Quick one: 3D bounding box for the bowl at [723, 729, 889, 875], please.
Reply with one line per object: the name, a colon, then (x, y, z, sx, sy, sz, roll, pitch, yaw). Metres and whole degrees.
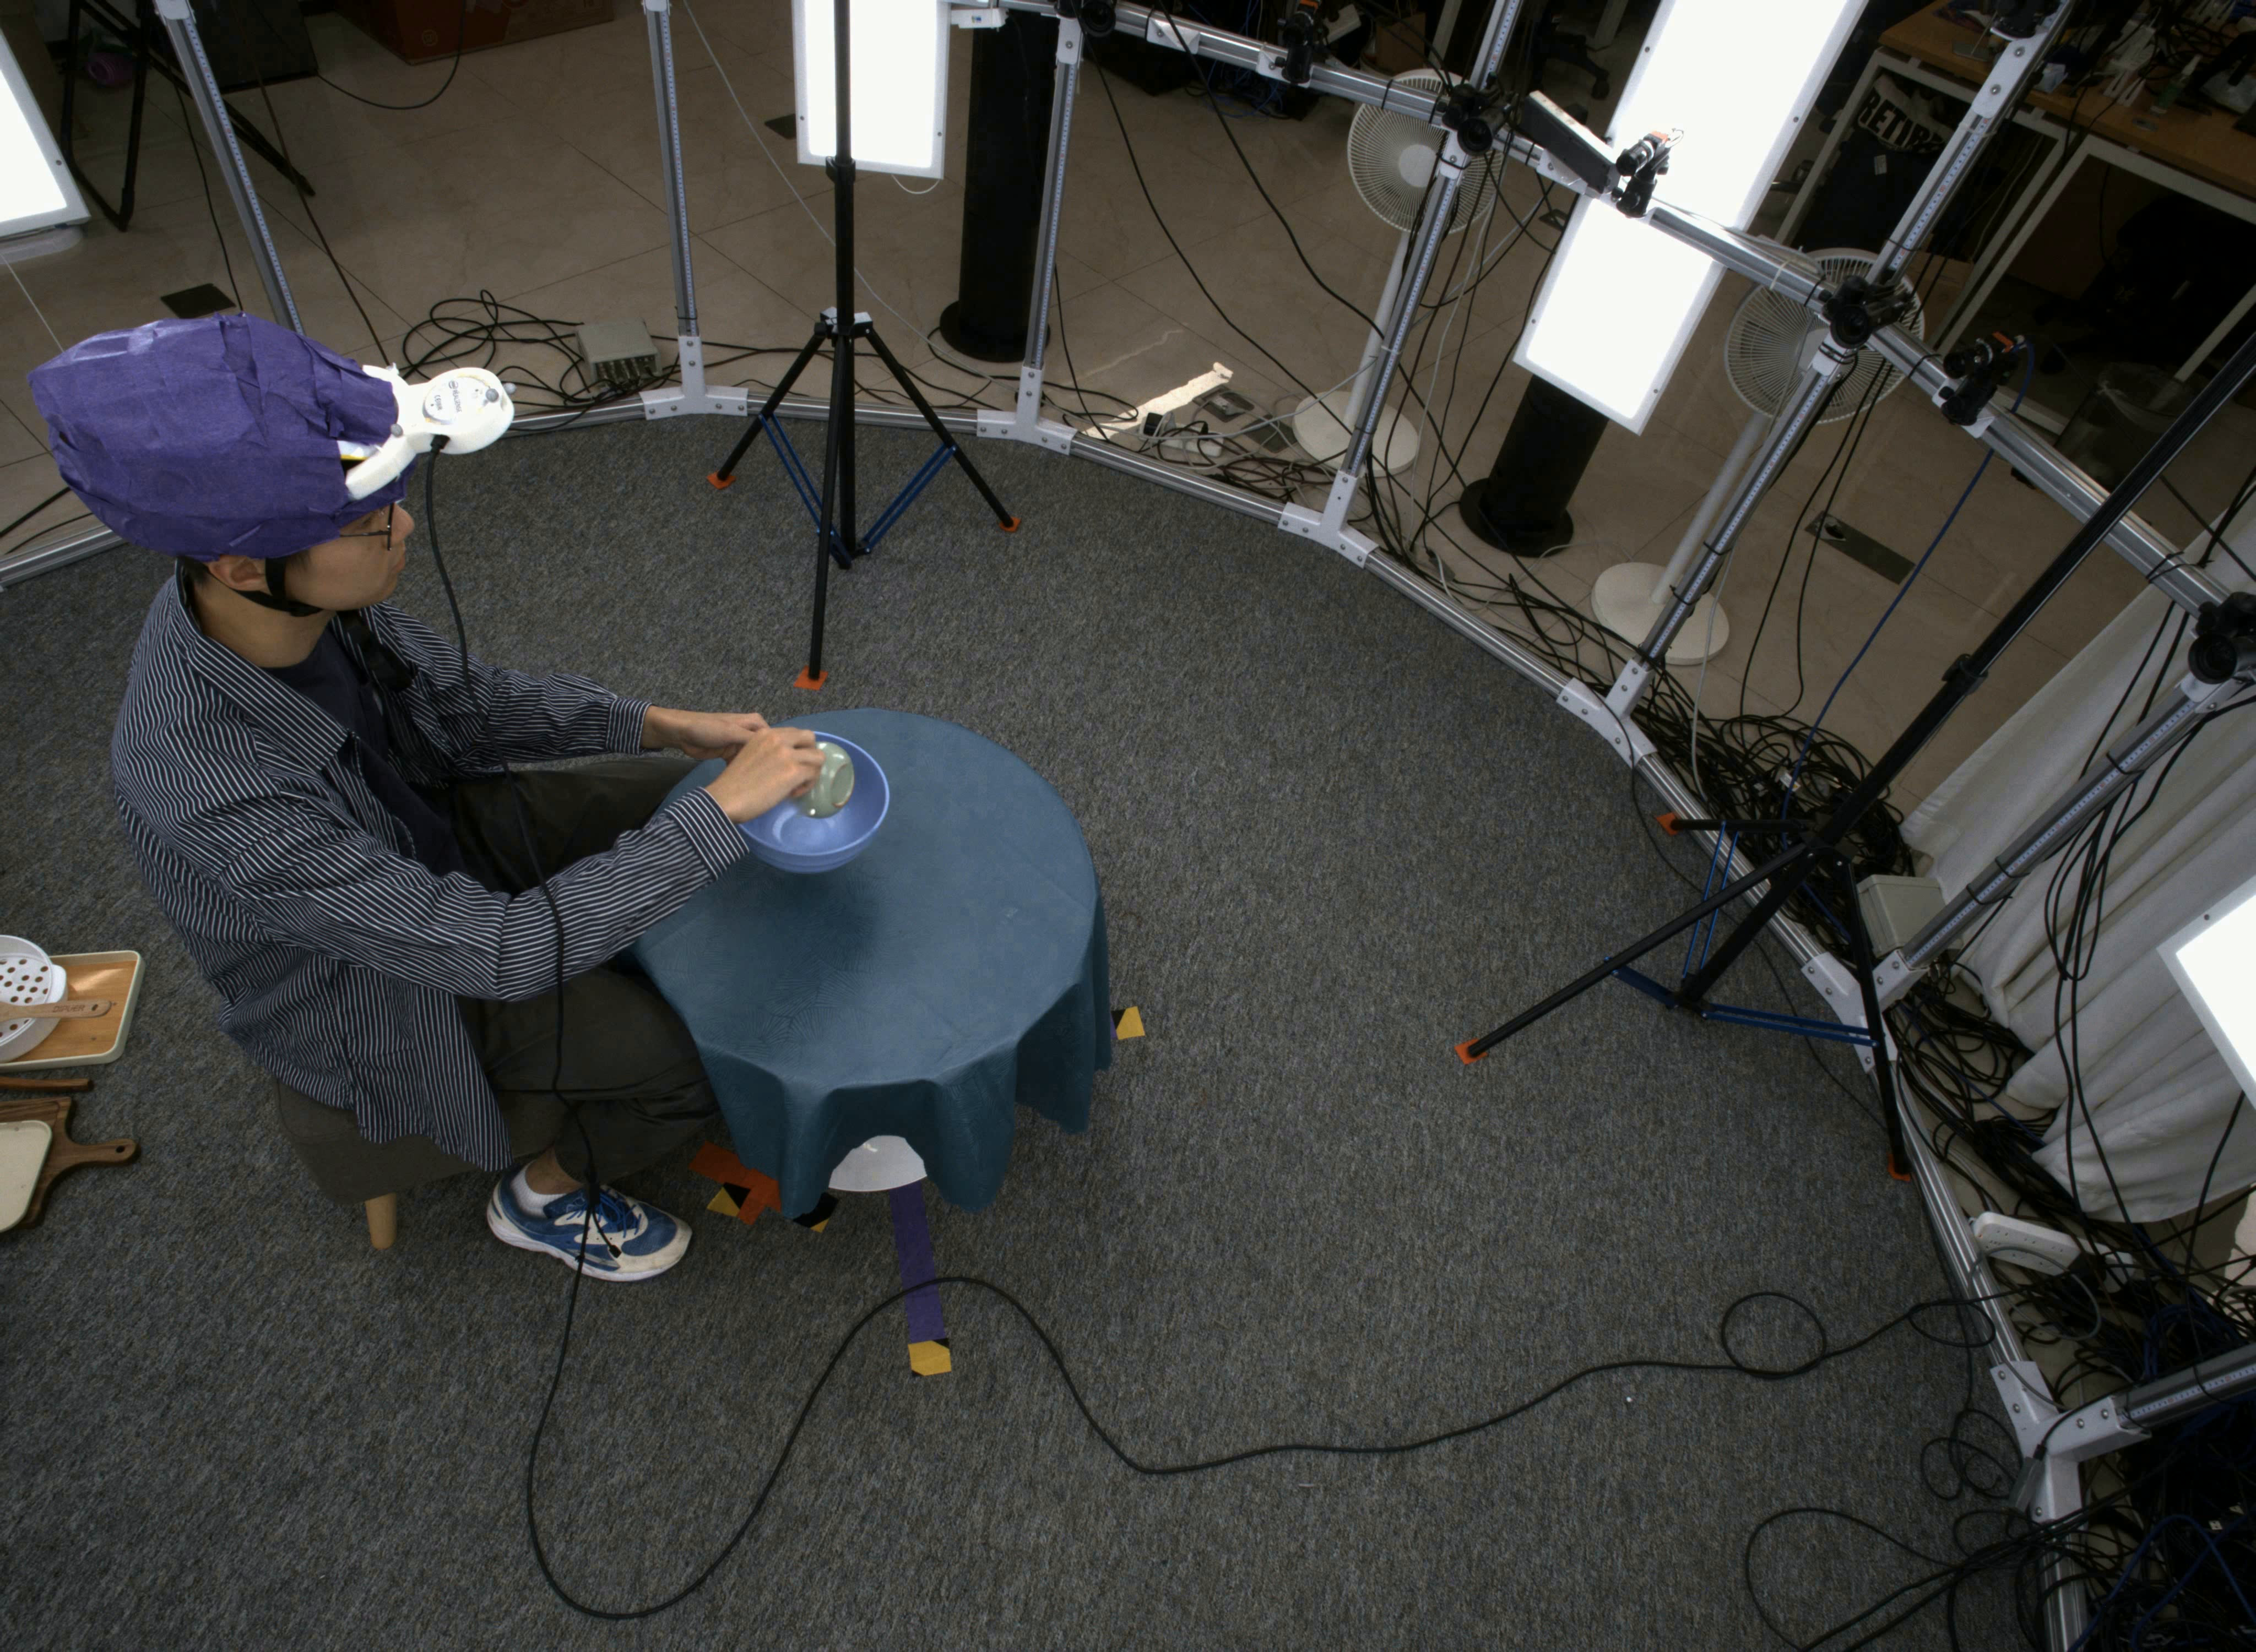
bowl: (-0.397, -0.014, 1.597, 0.197, 0.097, 0.193, 10, 50, -11)

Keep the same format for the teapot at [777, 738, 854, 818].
teapot: (-0.361, -0.060, 1.497, 0.059, 0.132, 0.091, 15, 75, 17)
